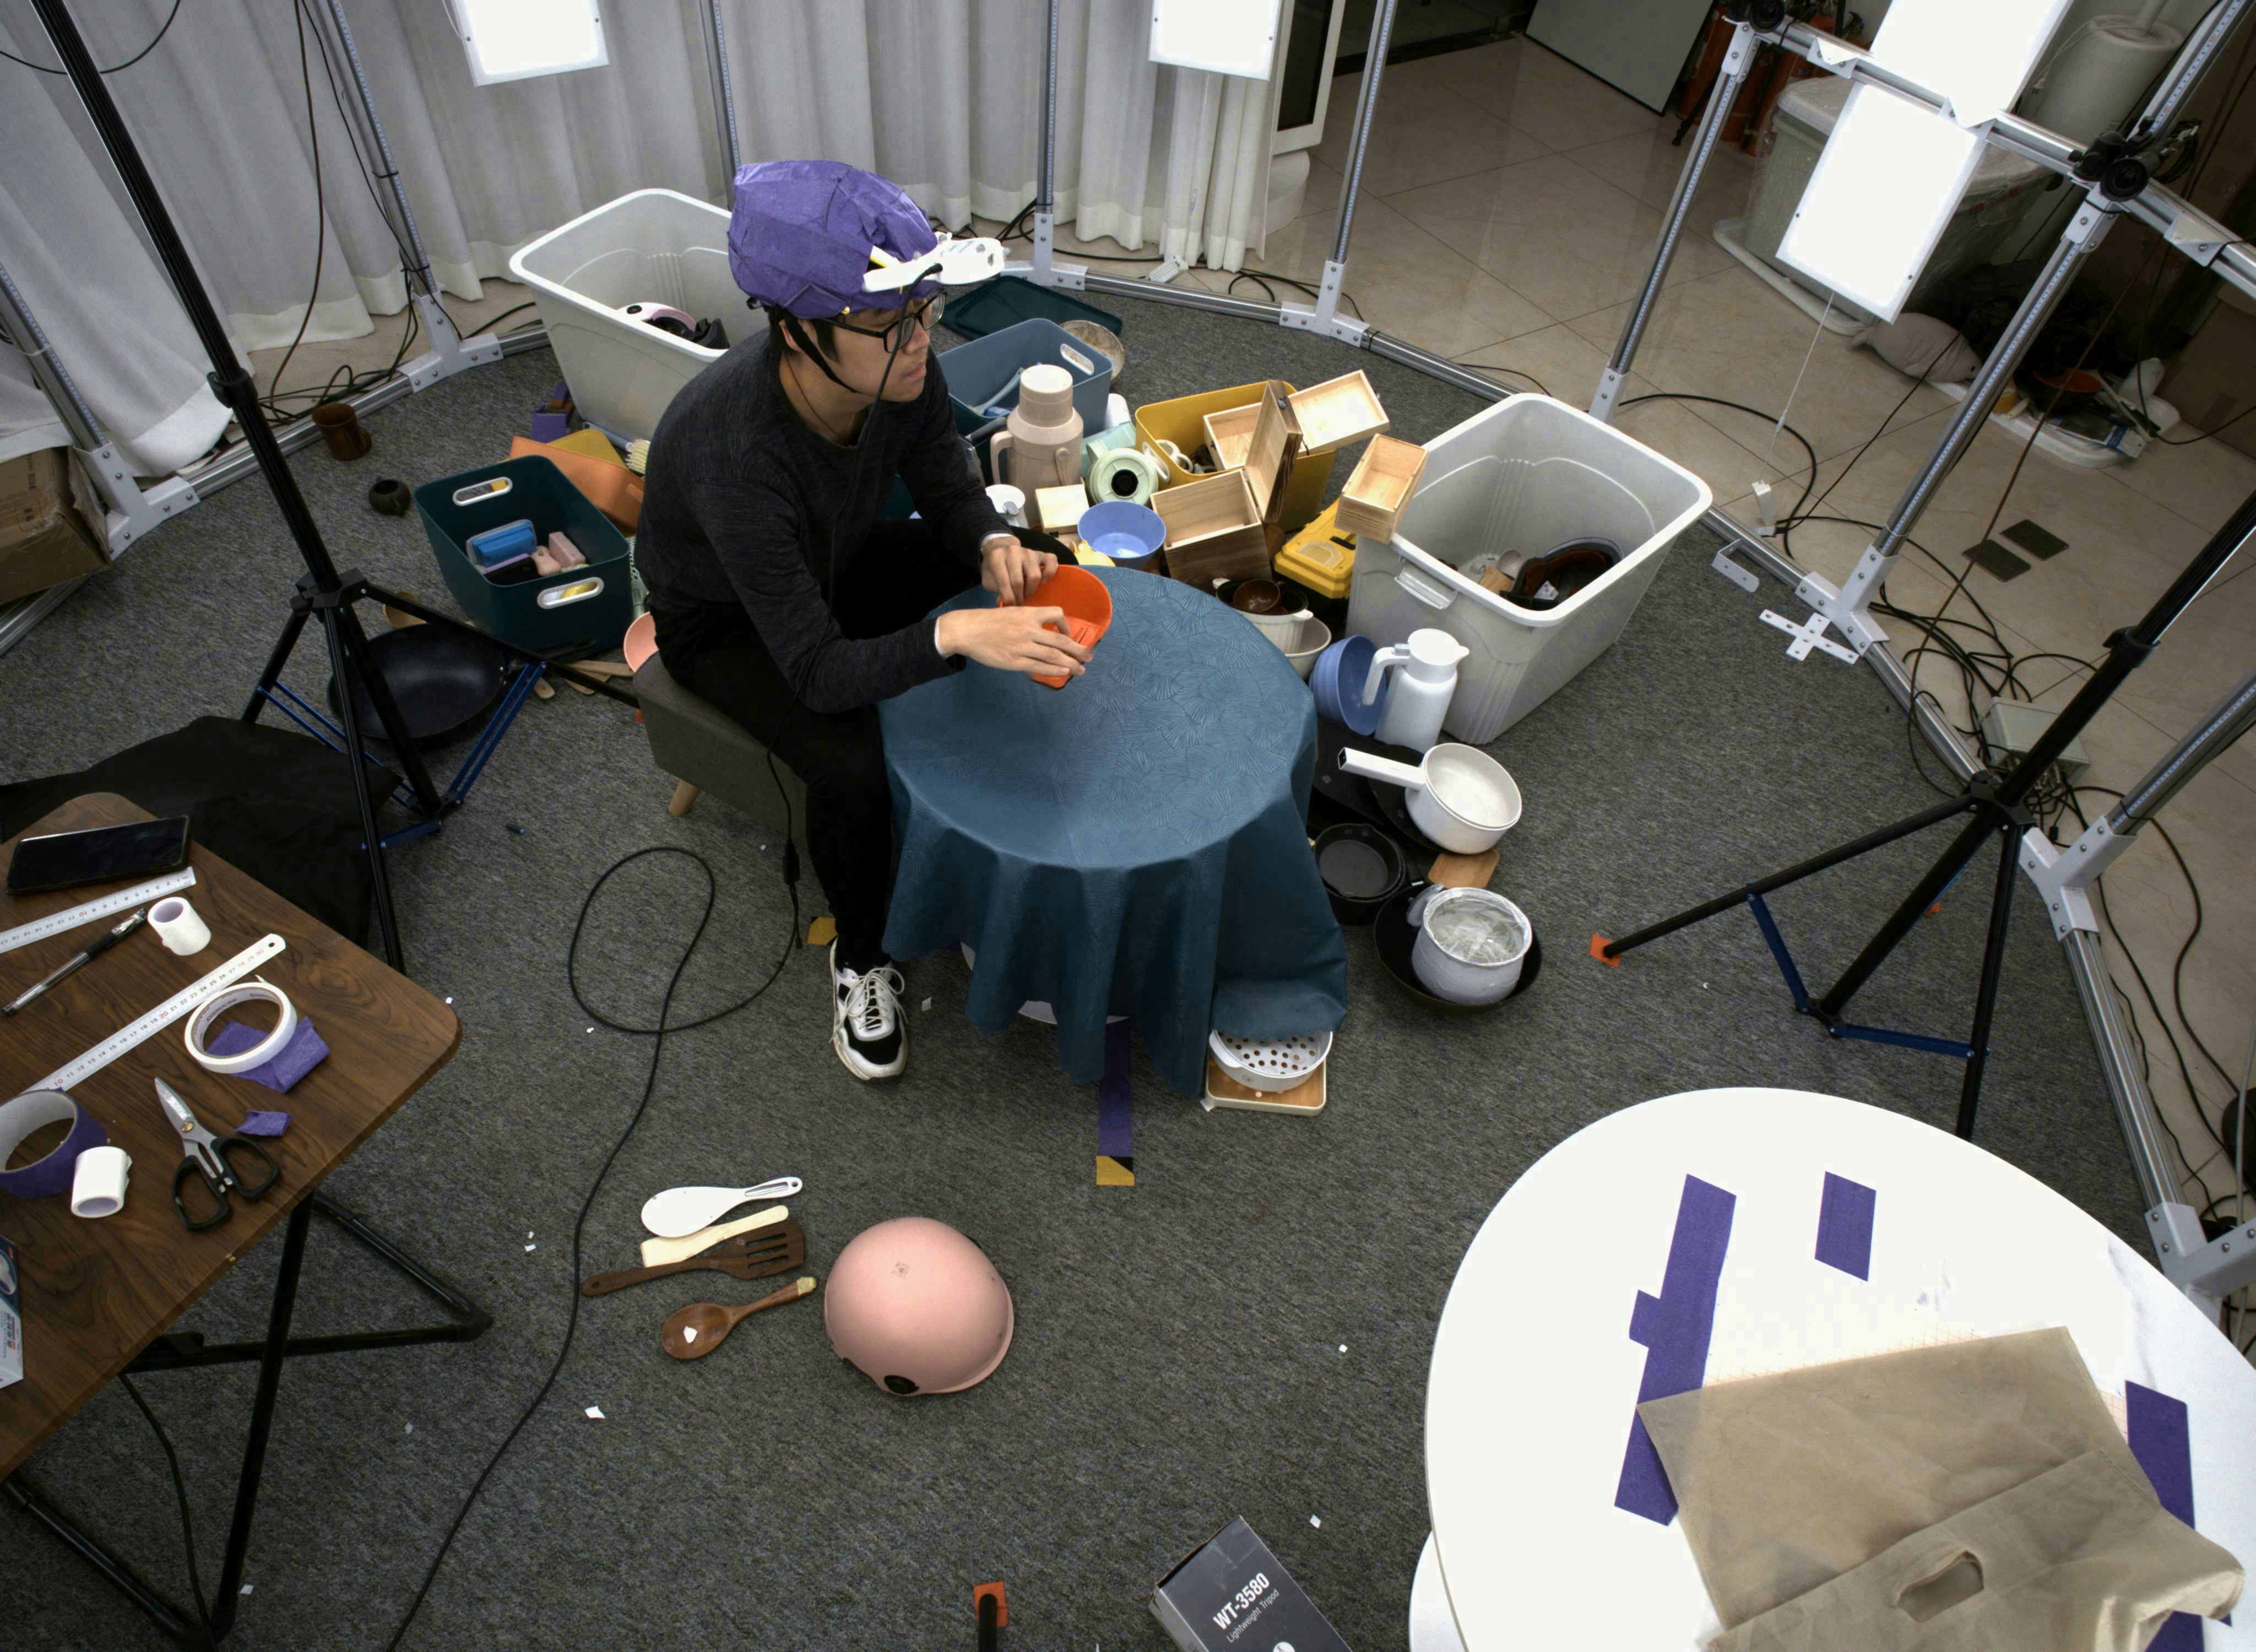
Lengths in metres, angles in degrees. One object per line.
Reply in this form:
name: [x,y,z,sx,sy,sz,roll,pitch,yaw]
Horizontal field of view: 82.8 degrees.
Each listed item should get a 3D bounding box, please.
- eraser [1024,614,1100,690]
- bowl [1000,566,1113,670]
eraser: [-0.084,-0.223,1.638,0.059,0.022,0.110,21,55,19]
bowl: [-0.098,-0.262,1.726,0.148,0.102,0.151,3,56,-5]
